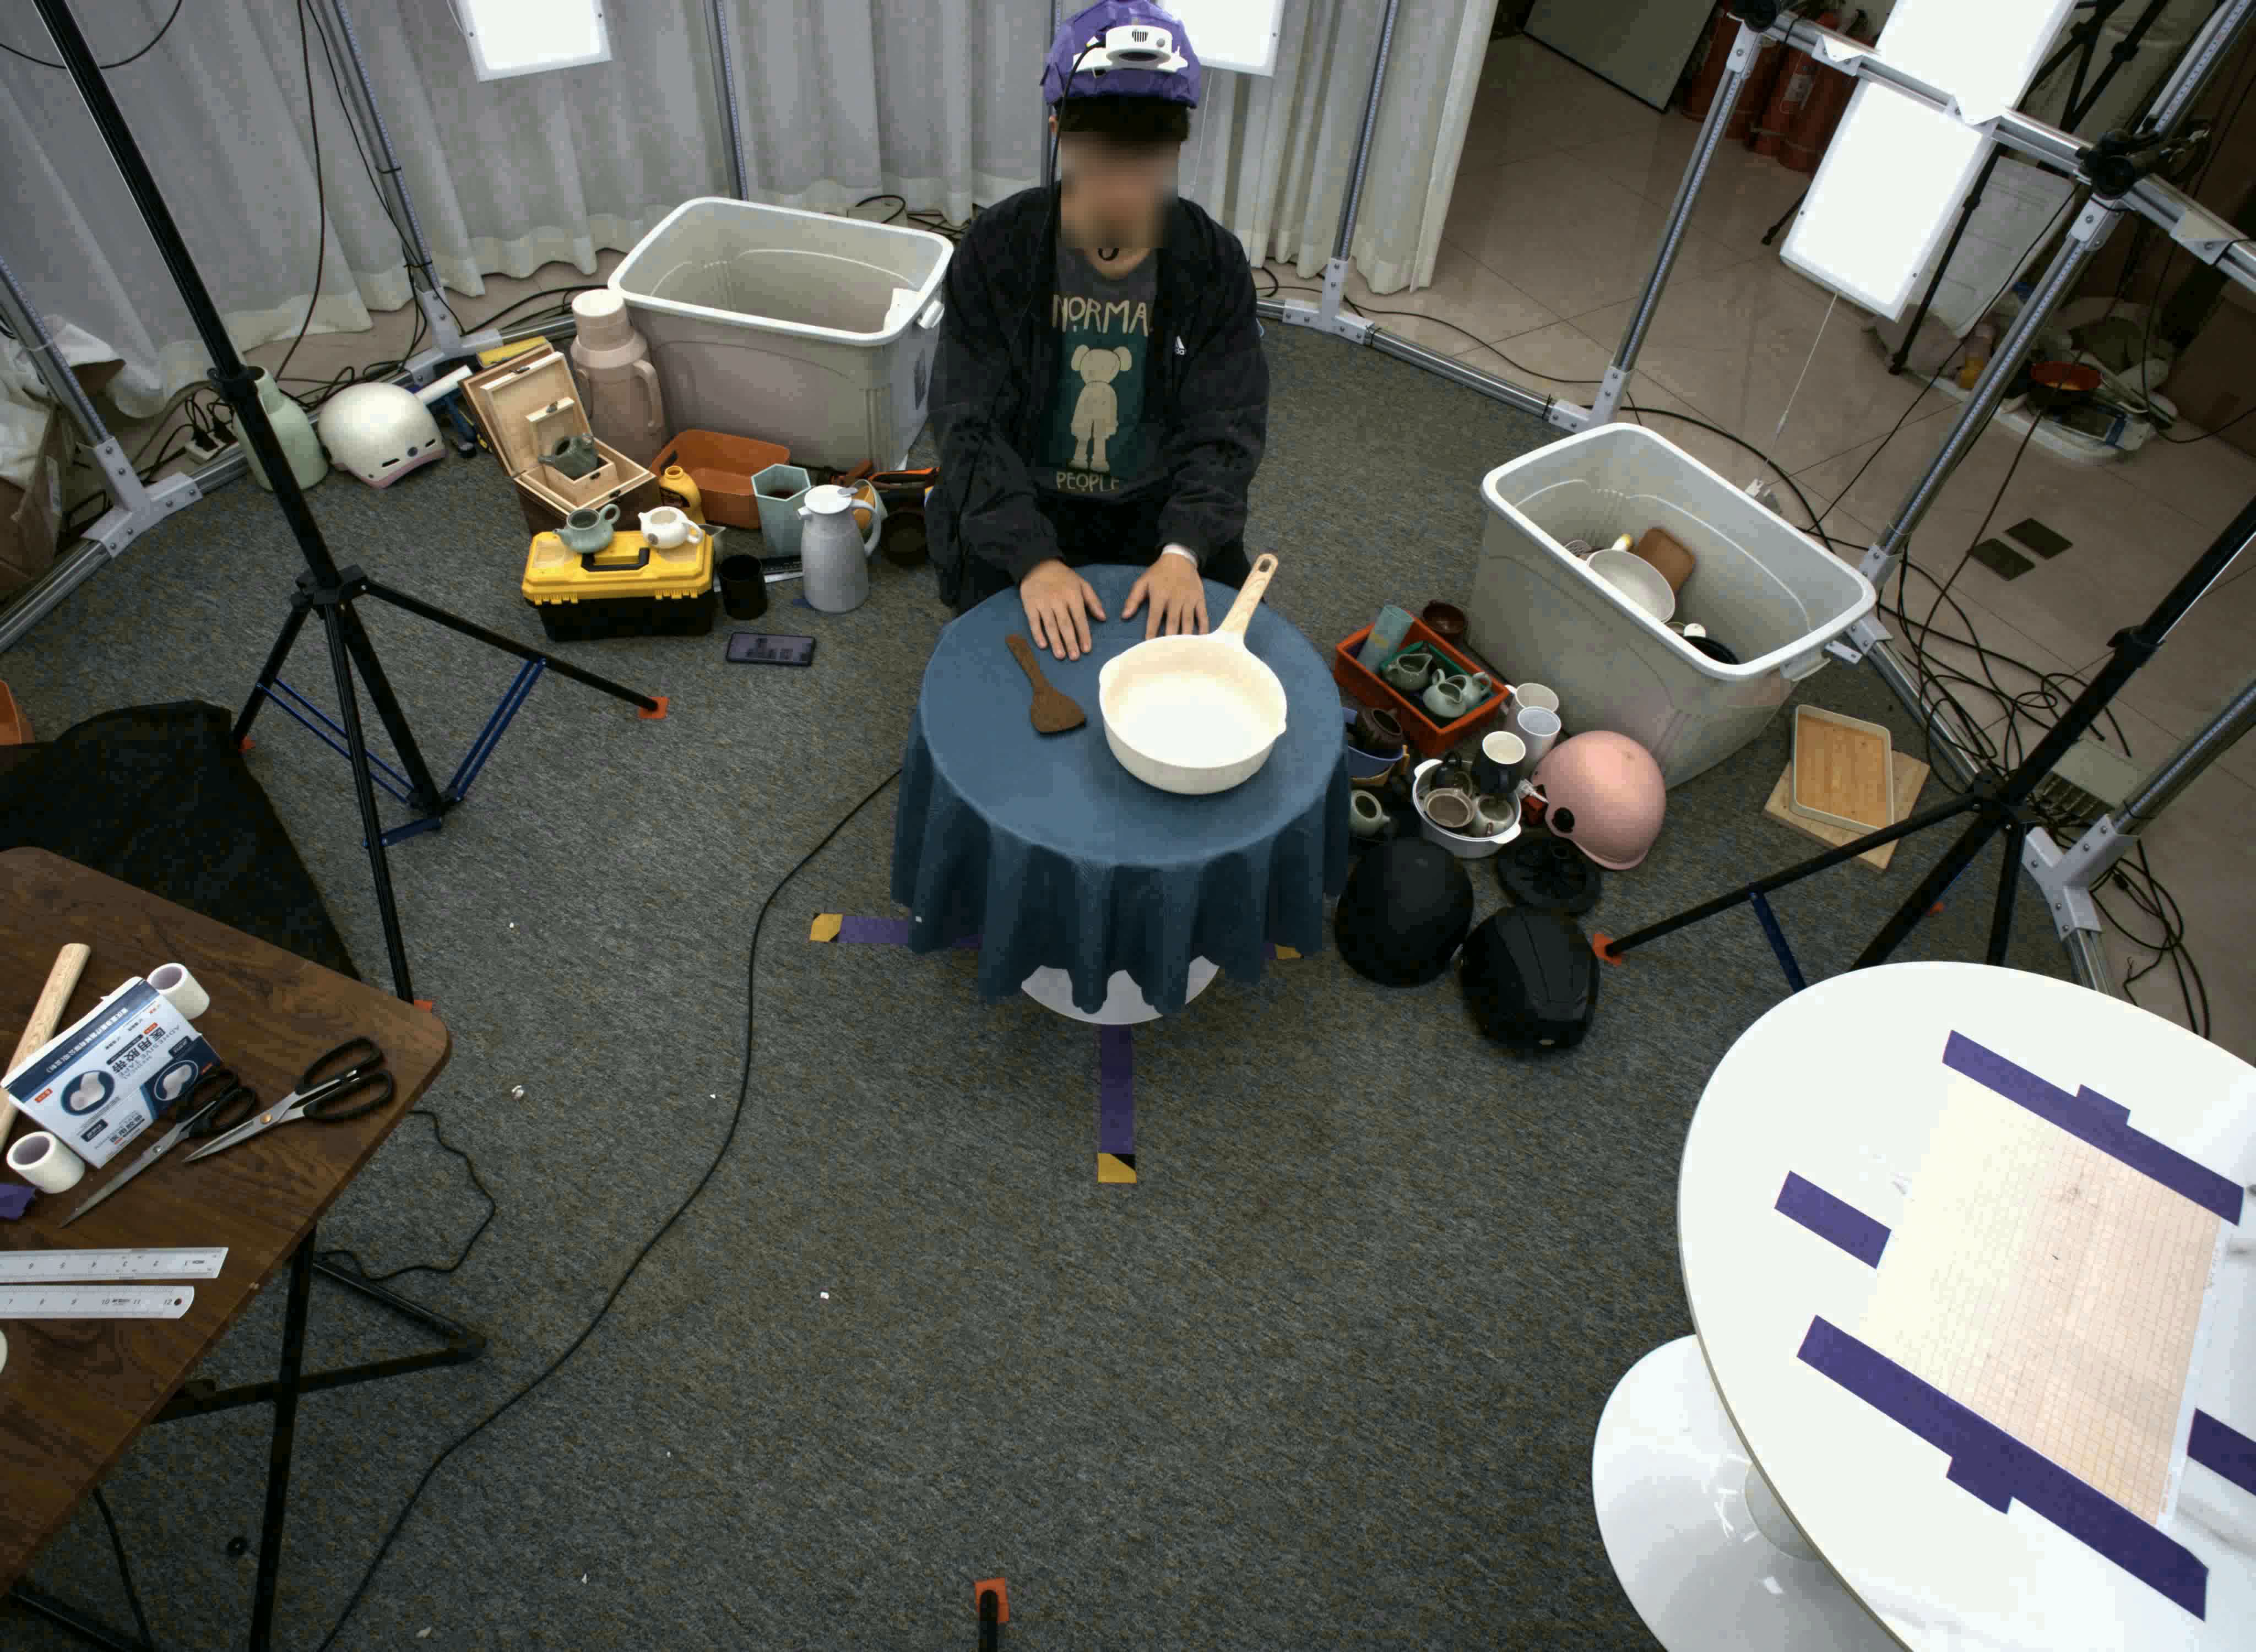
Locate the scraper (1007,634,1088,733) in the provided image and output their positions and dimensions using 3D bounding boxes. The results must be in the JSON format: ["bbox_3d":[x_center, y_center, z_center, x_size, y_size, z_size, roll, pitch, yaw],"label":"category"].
[{"bbox_3d":[-0.126,-0.206,1.833,0.076,0.010,0.216,-15,50,-17],"label":"scraper"}]

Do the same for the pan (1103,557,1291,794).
[{"bbox_3d":[0.126,-0.214,1.797,0.265,0.099,0.443,18,49,14],"label":"pan"}]
